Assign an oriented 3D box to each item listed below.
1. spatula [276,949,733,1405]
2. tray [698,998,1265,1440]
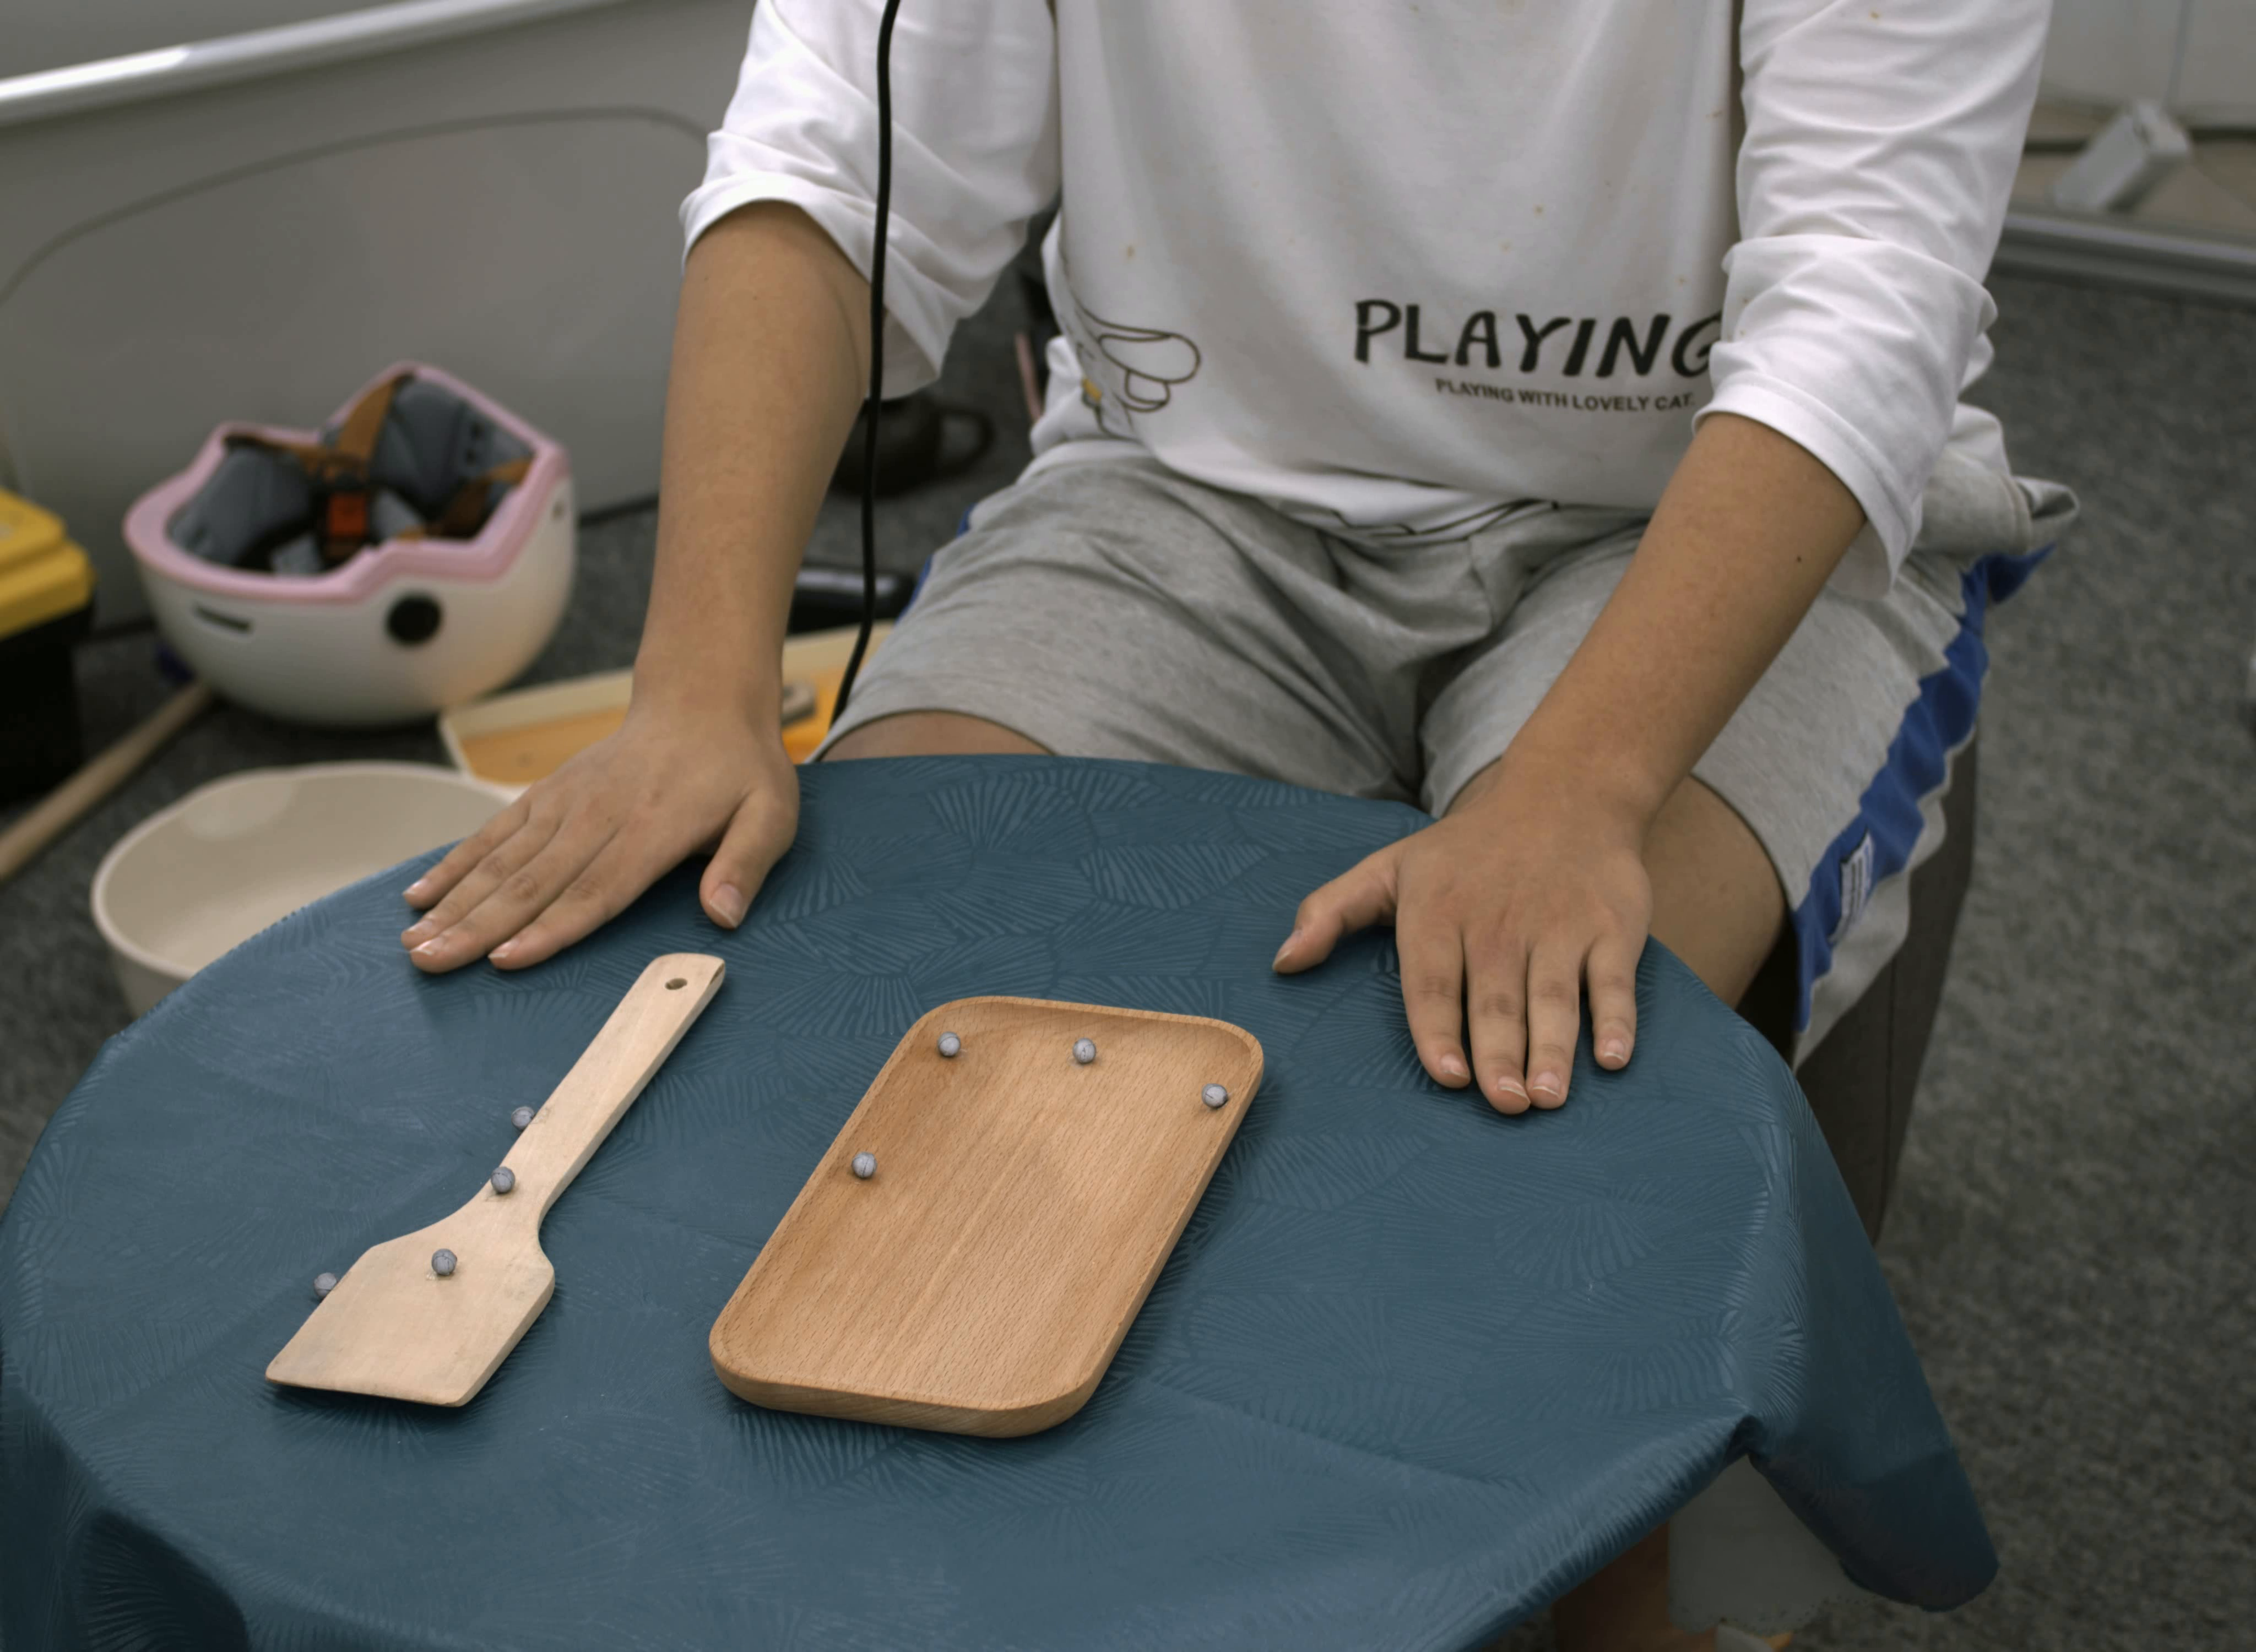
[{"bbox_3d":[-0.196,0.113,1.887,0.072,0.010,0.298,5,28,17],"label":"spatula"},{"bbox_3d":[-0.044,0.126,1.842,0.129,0.022,0.255,4,28,18],"label":"tray"}]
